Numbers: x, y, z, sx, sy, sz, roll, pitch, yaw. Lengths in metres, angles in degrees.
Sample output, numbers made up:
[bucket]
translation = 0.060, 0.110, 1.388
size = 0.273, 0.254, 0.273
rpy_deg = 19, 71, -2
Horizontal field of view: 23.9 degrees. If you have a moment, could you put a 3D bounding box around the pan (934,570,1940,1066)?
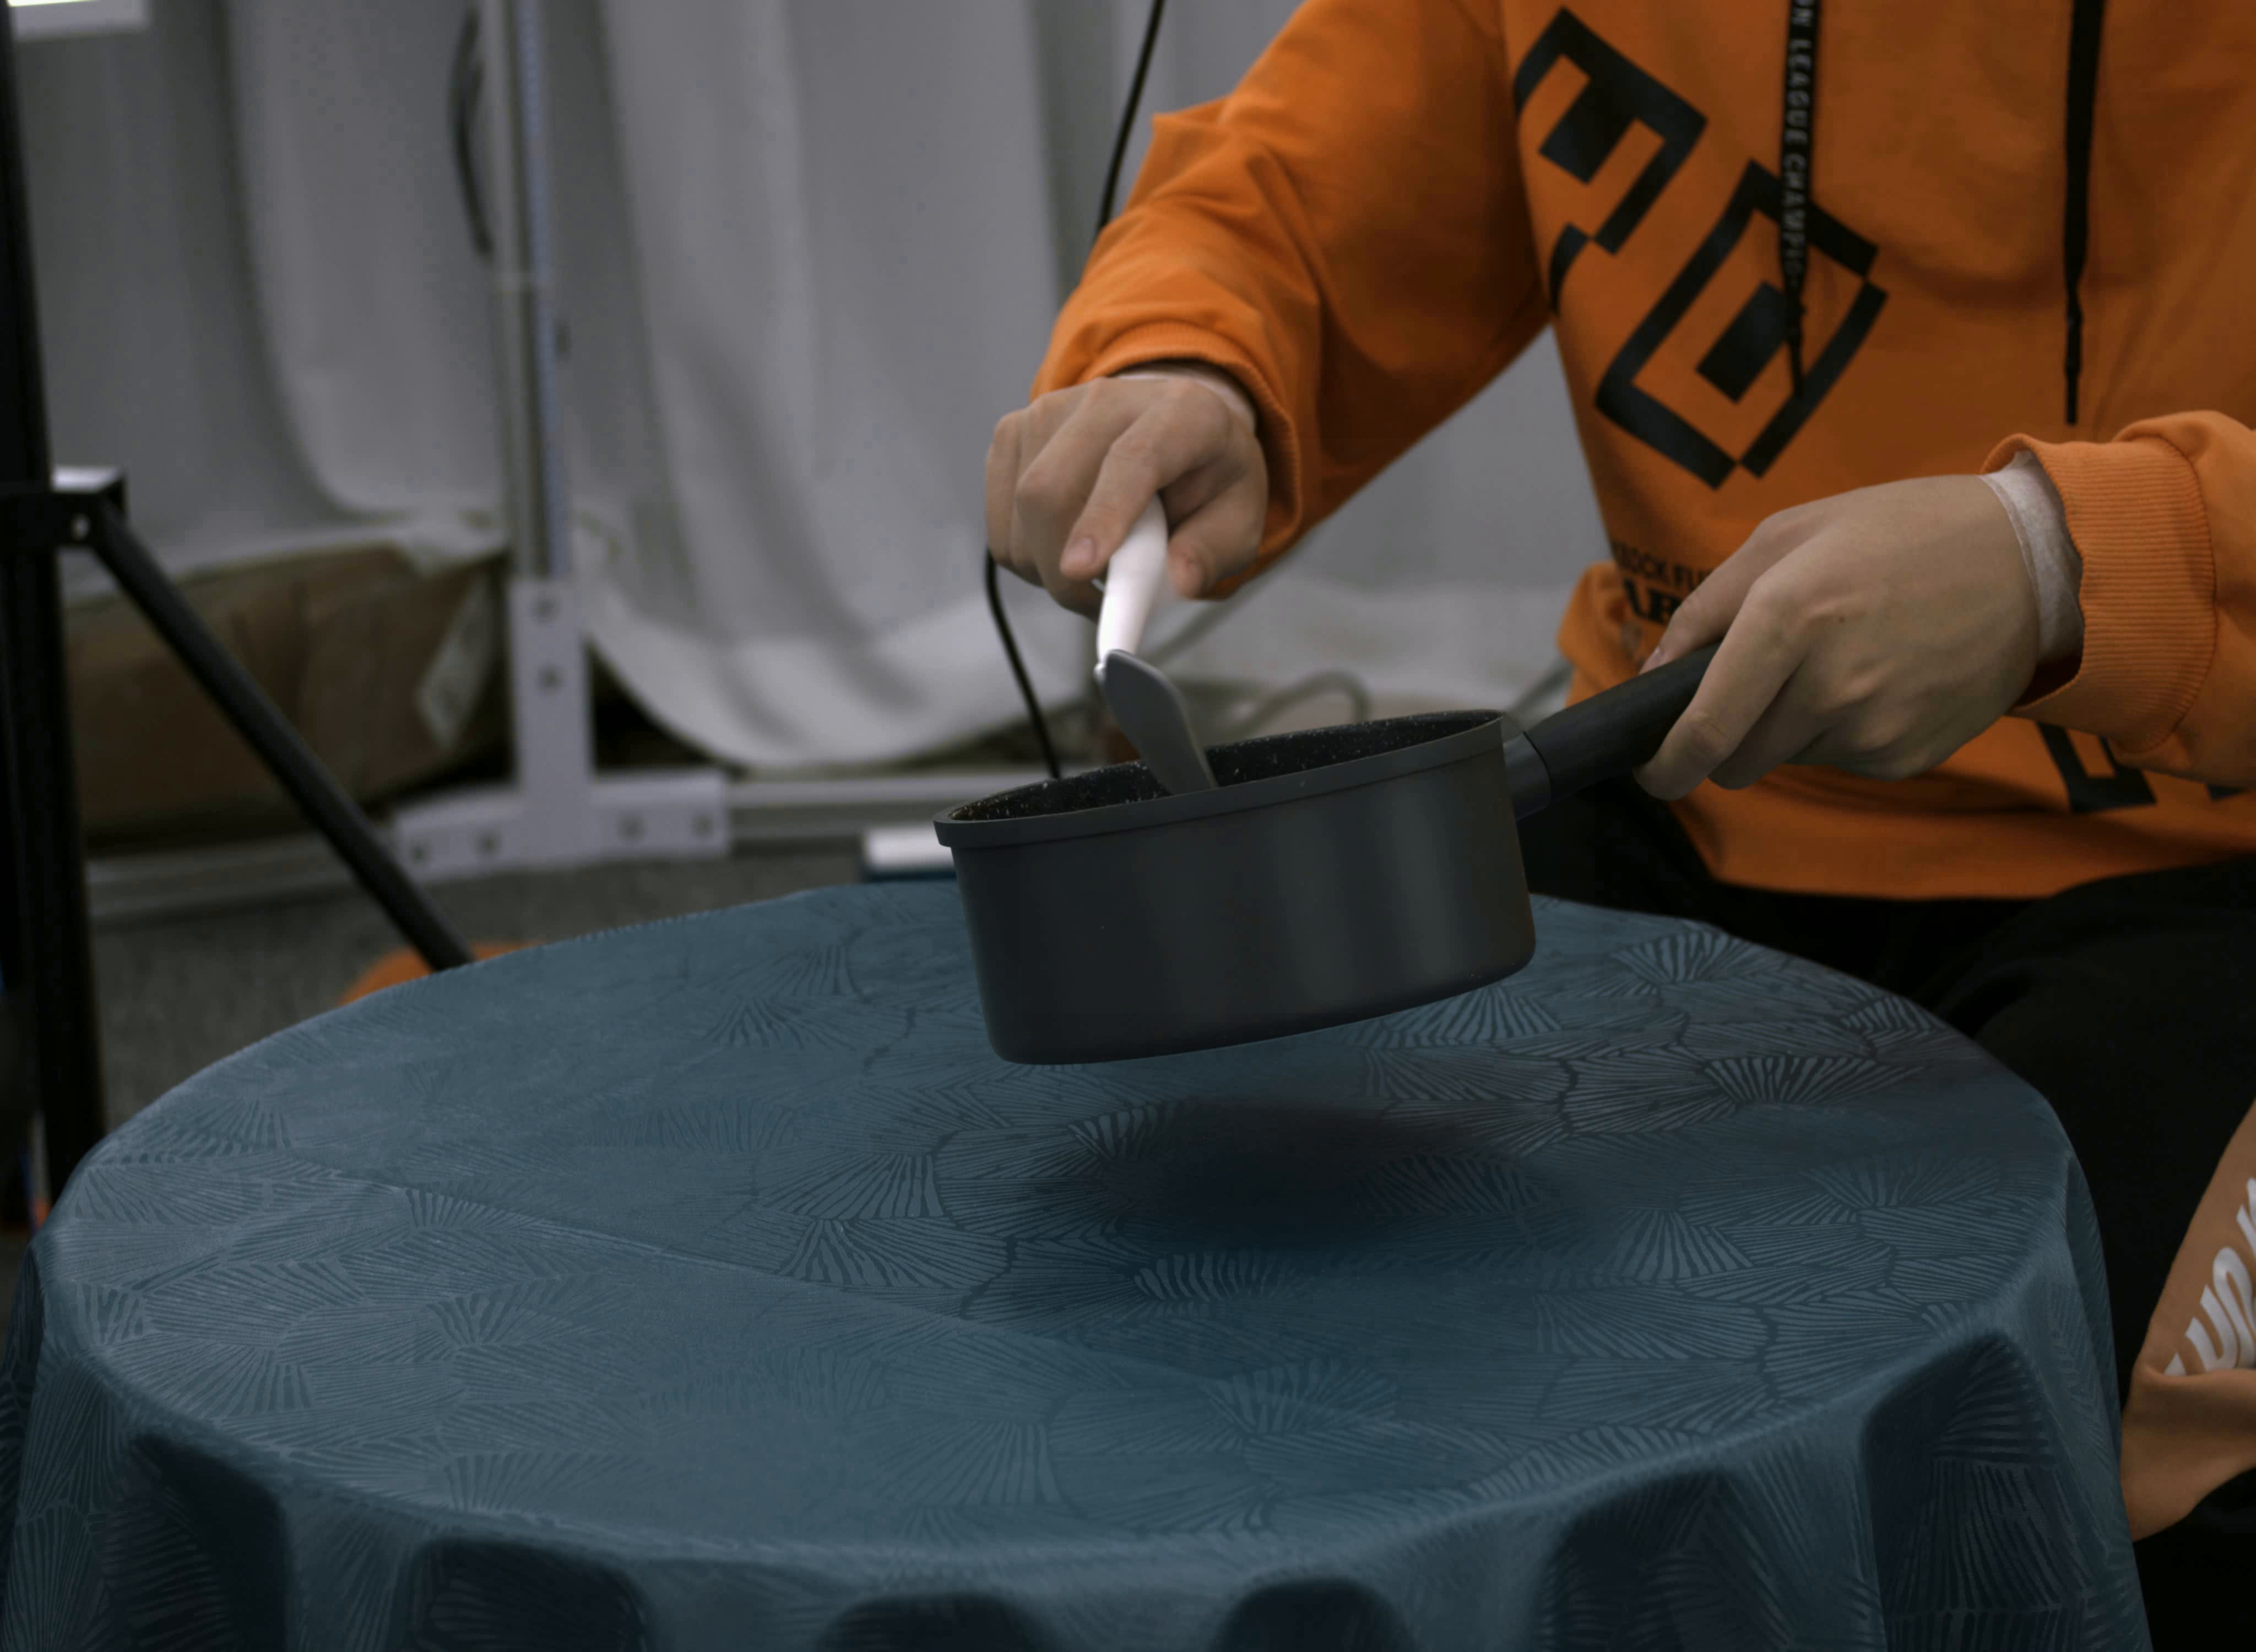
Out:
[pan]
translation = 0.103, -0.001, 1.580
size = 0.322, 0.086, 0.175
rpy_deg = -14, 6, -22

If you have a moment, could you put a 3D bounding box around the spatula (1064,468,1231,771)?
[spatula]
translation = 0.007, -0.058, 1.621
size = 0.032, 0.058, 0.290
rpy_deg = -20, 18, 1
